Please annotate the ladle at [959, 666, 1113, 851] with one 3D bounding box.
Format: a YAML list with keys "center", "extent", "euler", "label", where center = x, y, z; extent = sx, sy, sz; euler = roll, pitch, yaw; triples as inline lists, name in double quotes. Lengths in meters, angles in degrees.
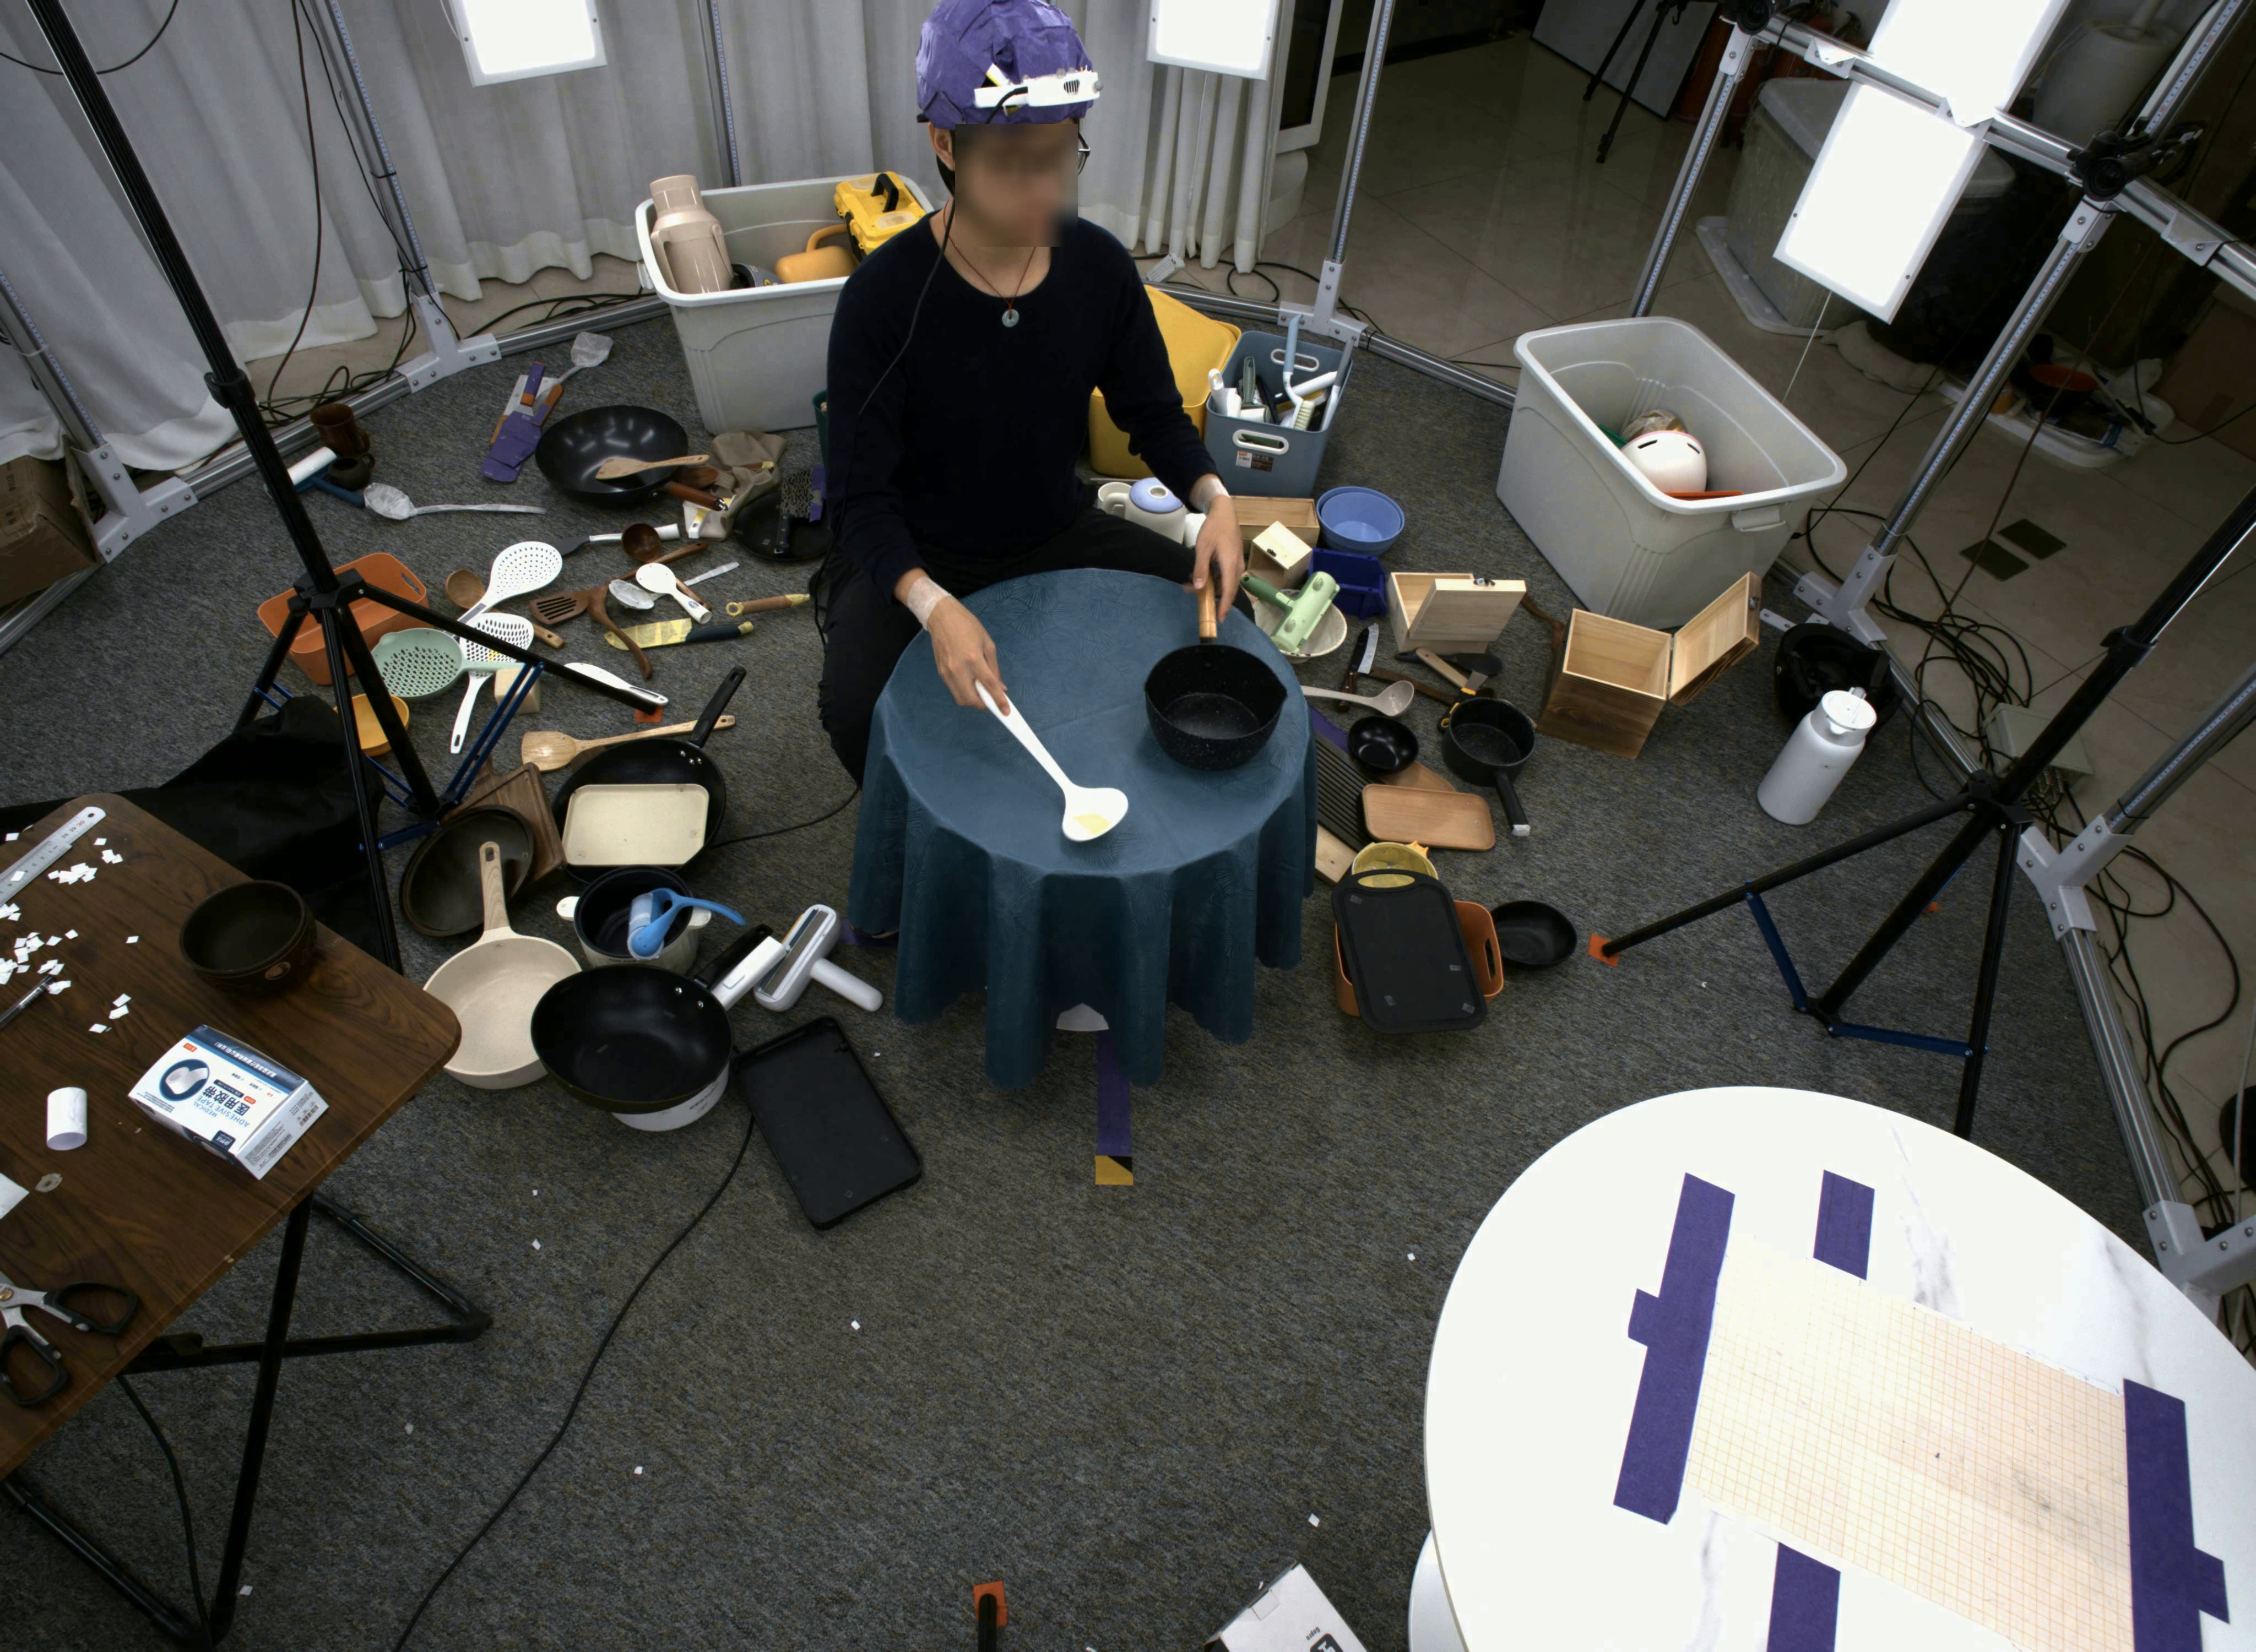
- center: [-0.126, -0.093, 1.662]
  extent: [0.090, 0.069, 0.295]
  euler: [-40, 78, 6]
  label: "ladle"

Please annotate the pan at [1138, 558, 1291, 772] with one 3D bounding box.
- center: [0.112, -0.227, 1.803]
  extent: [0.207, 0.105, 0.351]
  euler: [-1, 51, -3]
  label: "pan"
